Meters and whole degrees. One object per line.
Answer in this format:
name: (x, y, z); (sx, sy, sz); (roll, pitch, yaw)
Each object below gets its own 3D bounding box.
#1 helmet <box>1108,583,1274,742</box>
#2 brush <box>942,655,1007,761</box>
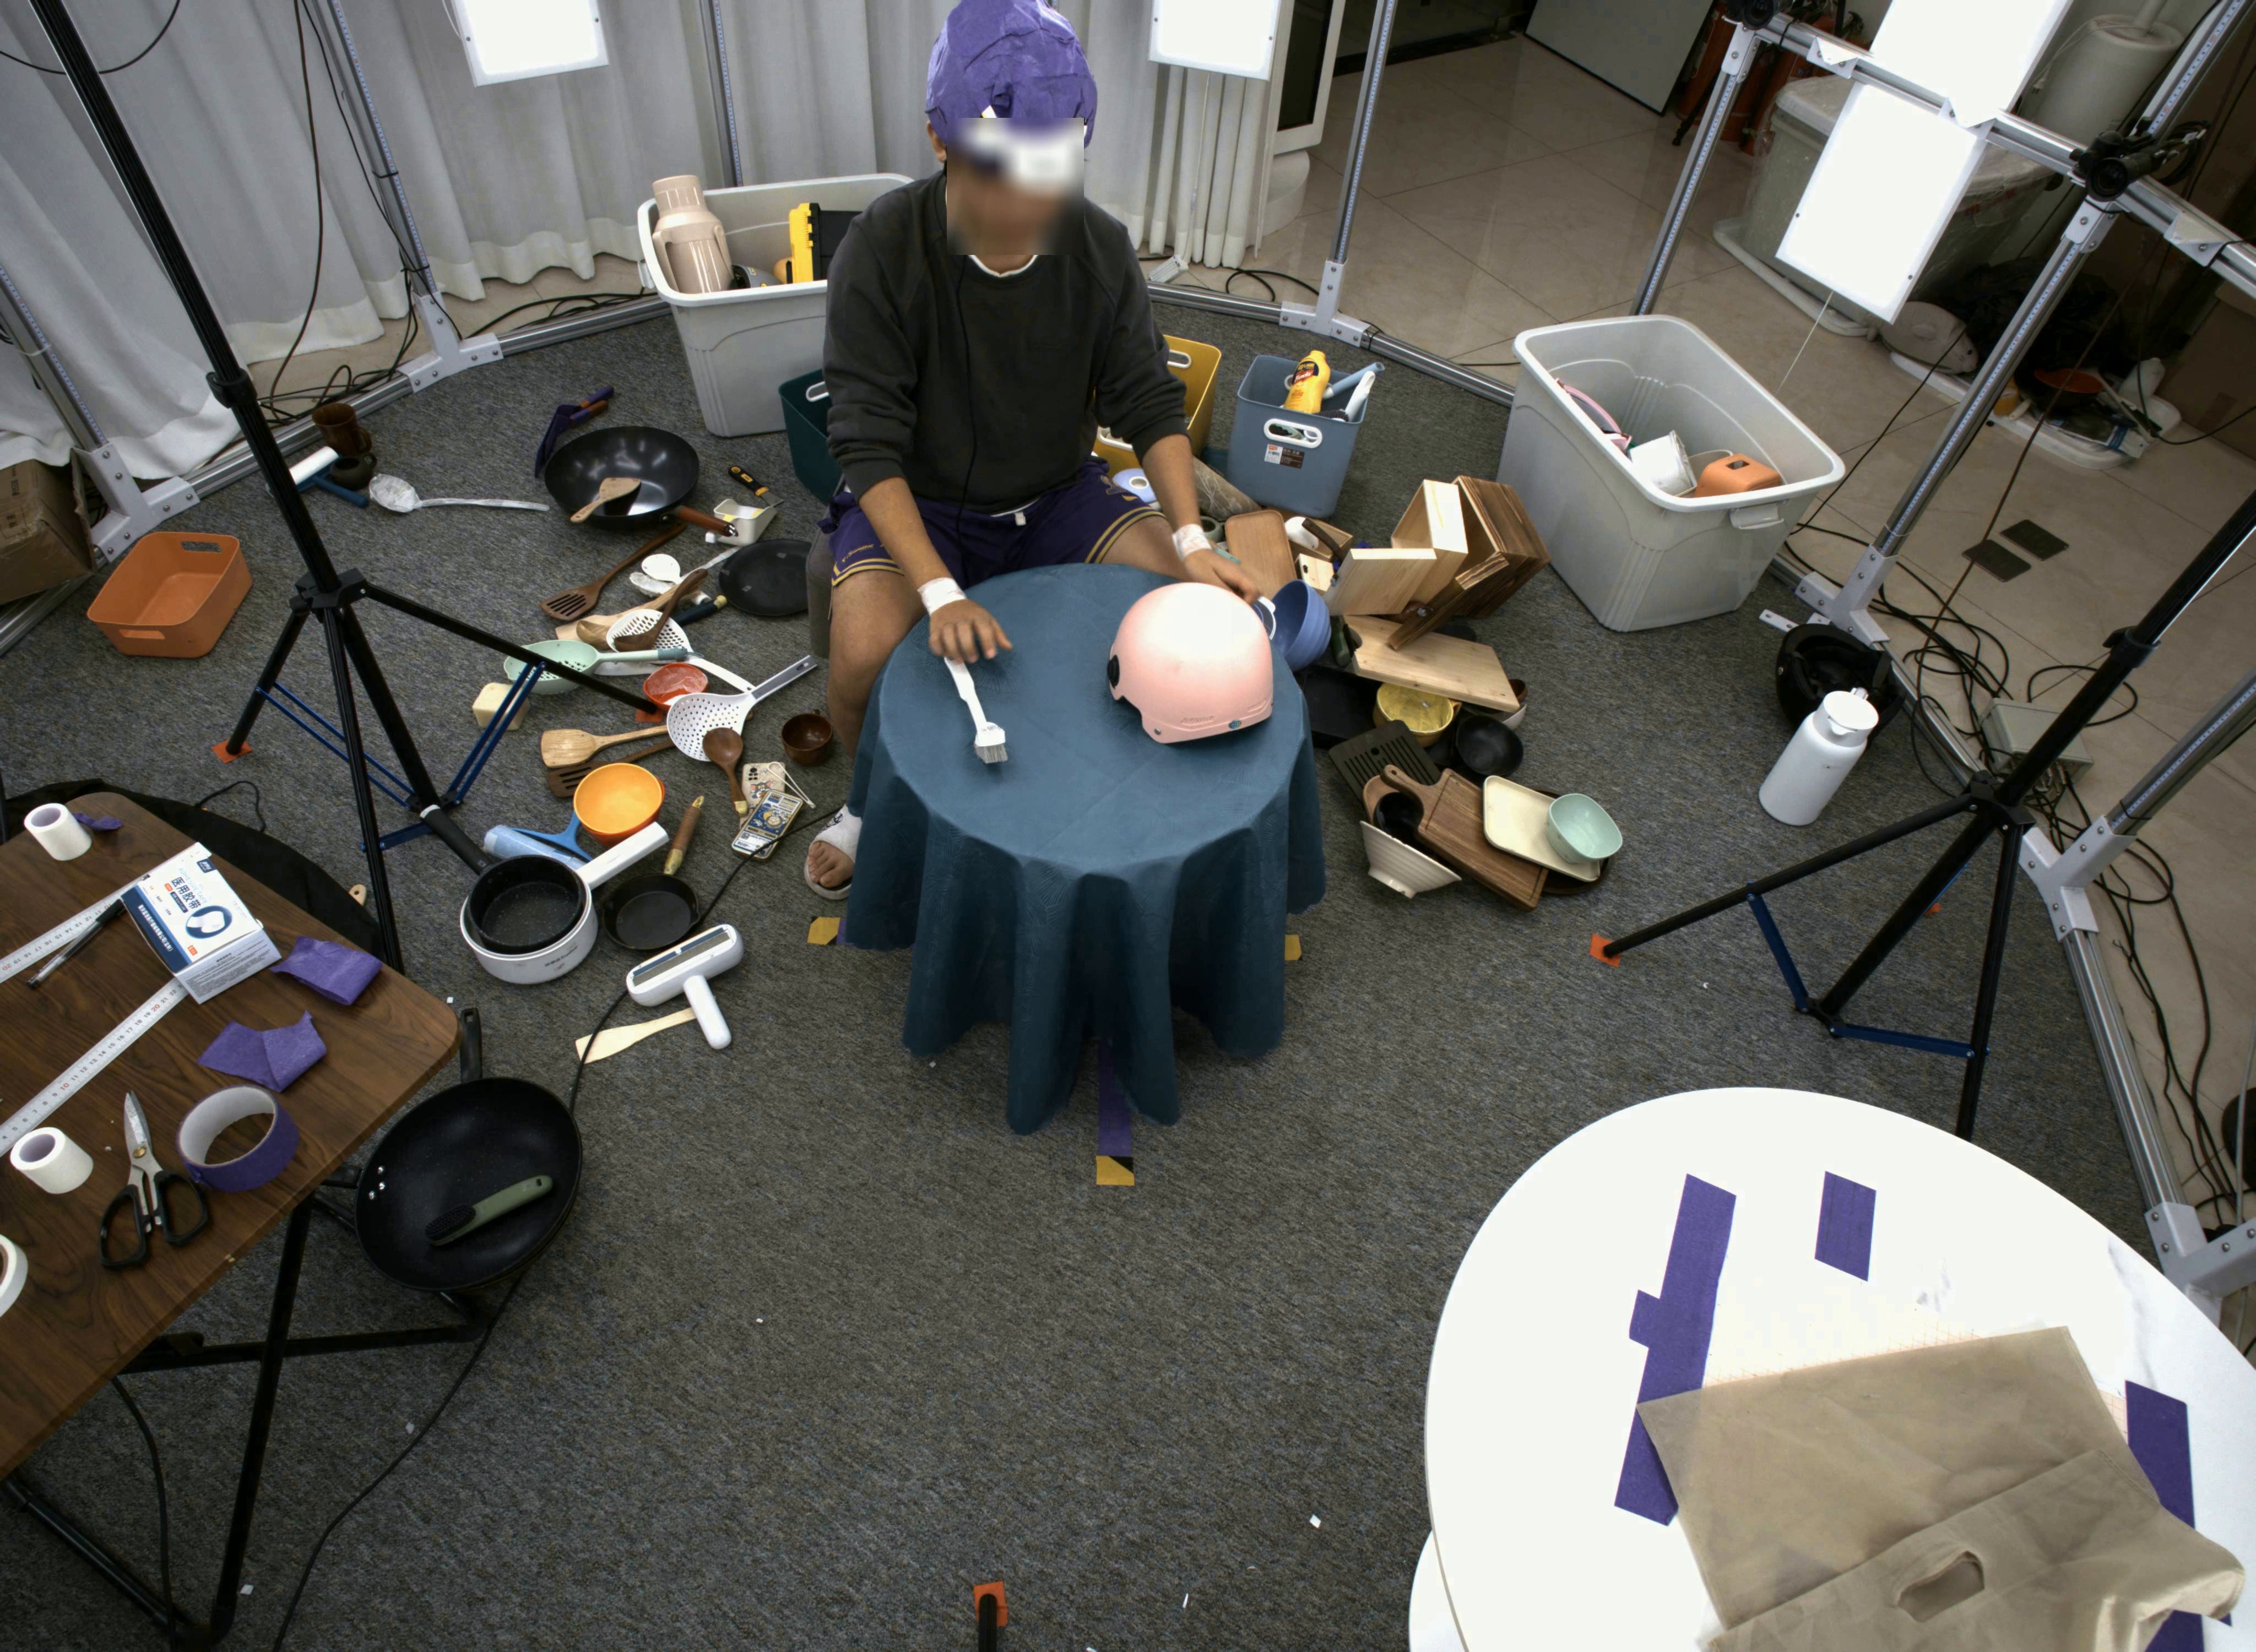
helmet: (0.090, -0.254, 1.796); (0.234, 0.155, 0.272); (-17, 48, -16)
brush: (-0.215, -0.162, 1.778); (0.034, 0.049, 0.249); (-13, 38, -16)
